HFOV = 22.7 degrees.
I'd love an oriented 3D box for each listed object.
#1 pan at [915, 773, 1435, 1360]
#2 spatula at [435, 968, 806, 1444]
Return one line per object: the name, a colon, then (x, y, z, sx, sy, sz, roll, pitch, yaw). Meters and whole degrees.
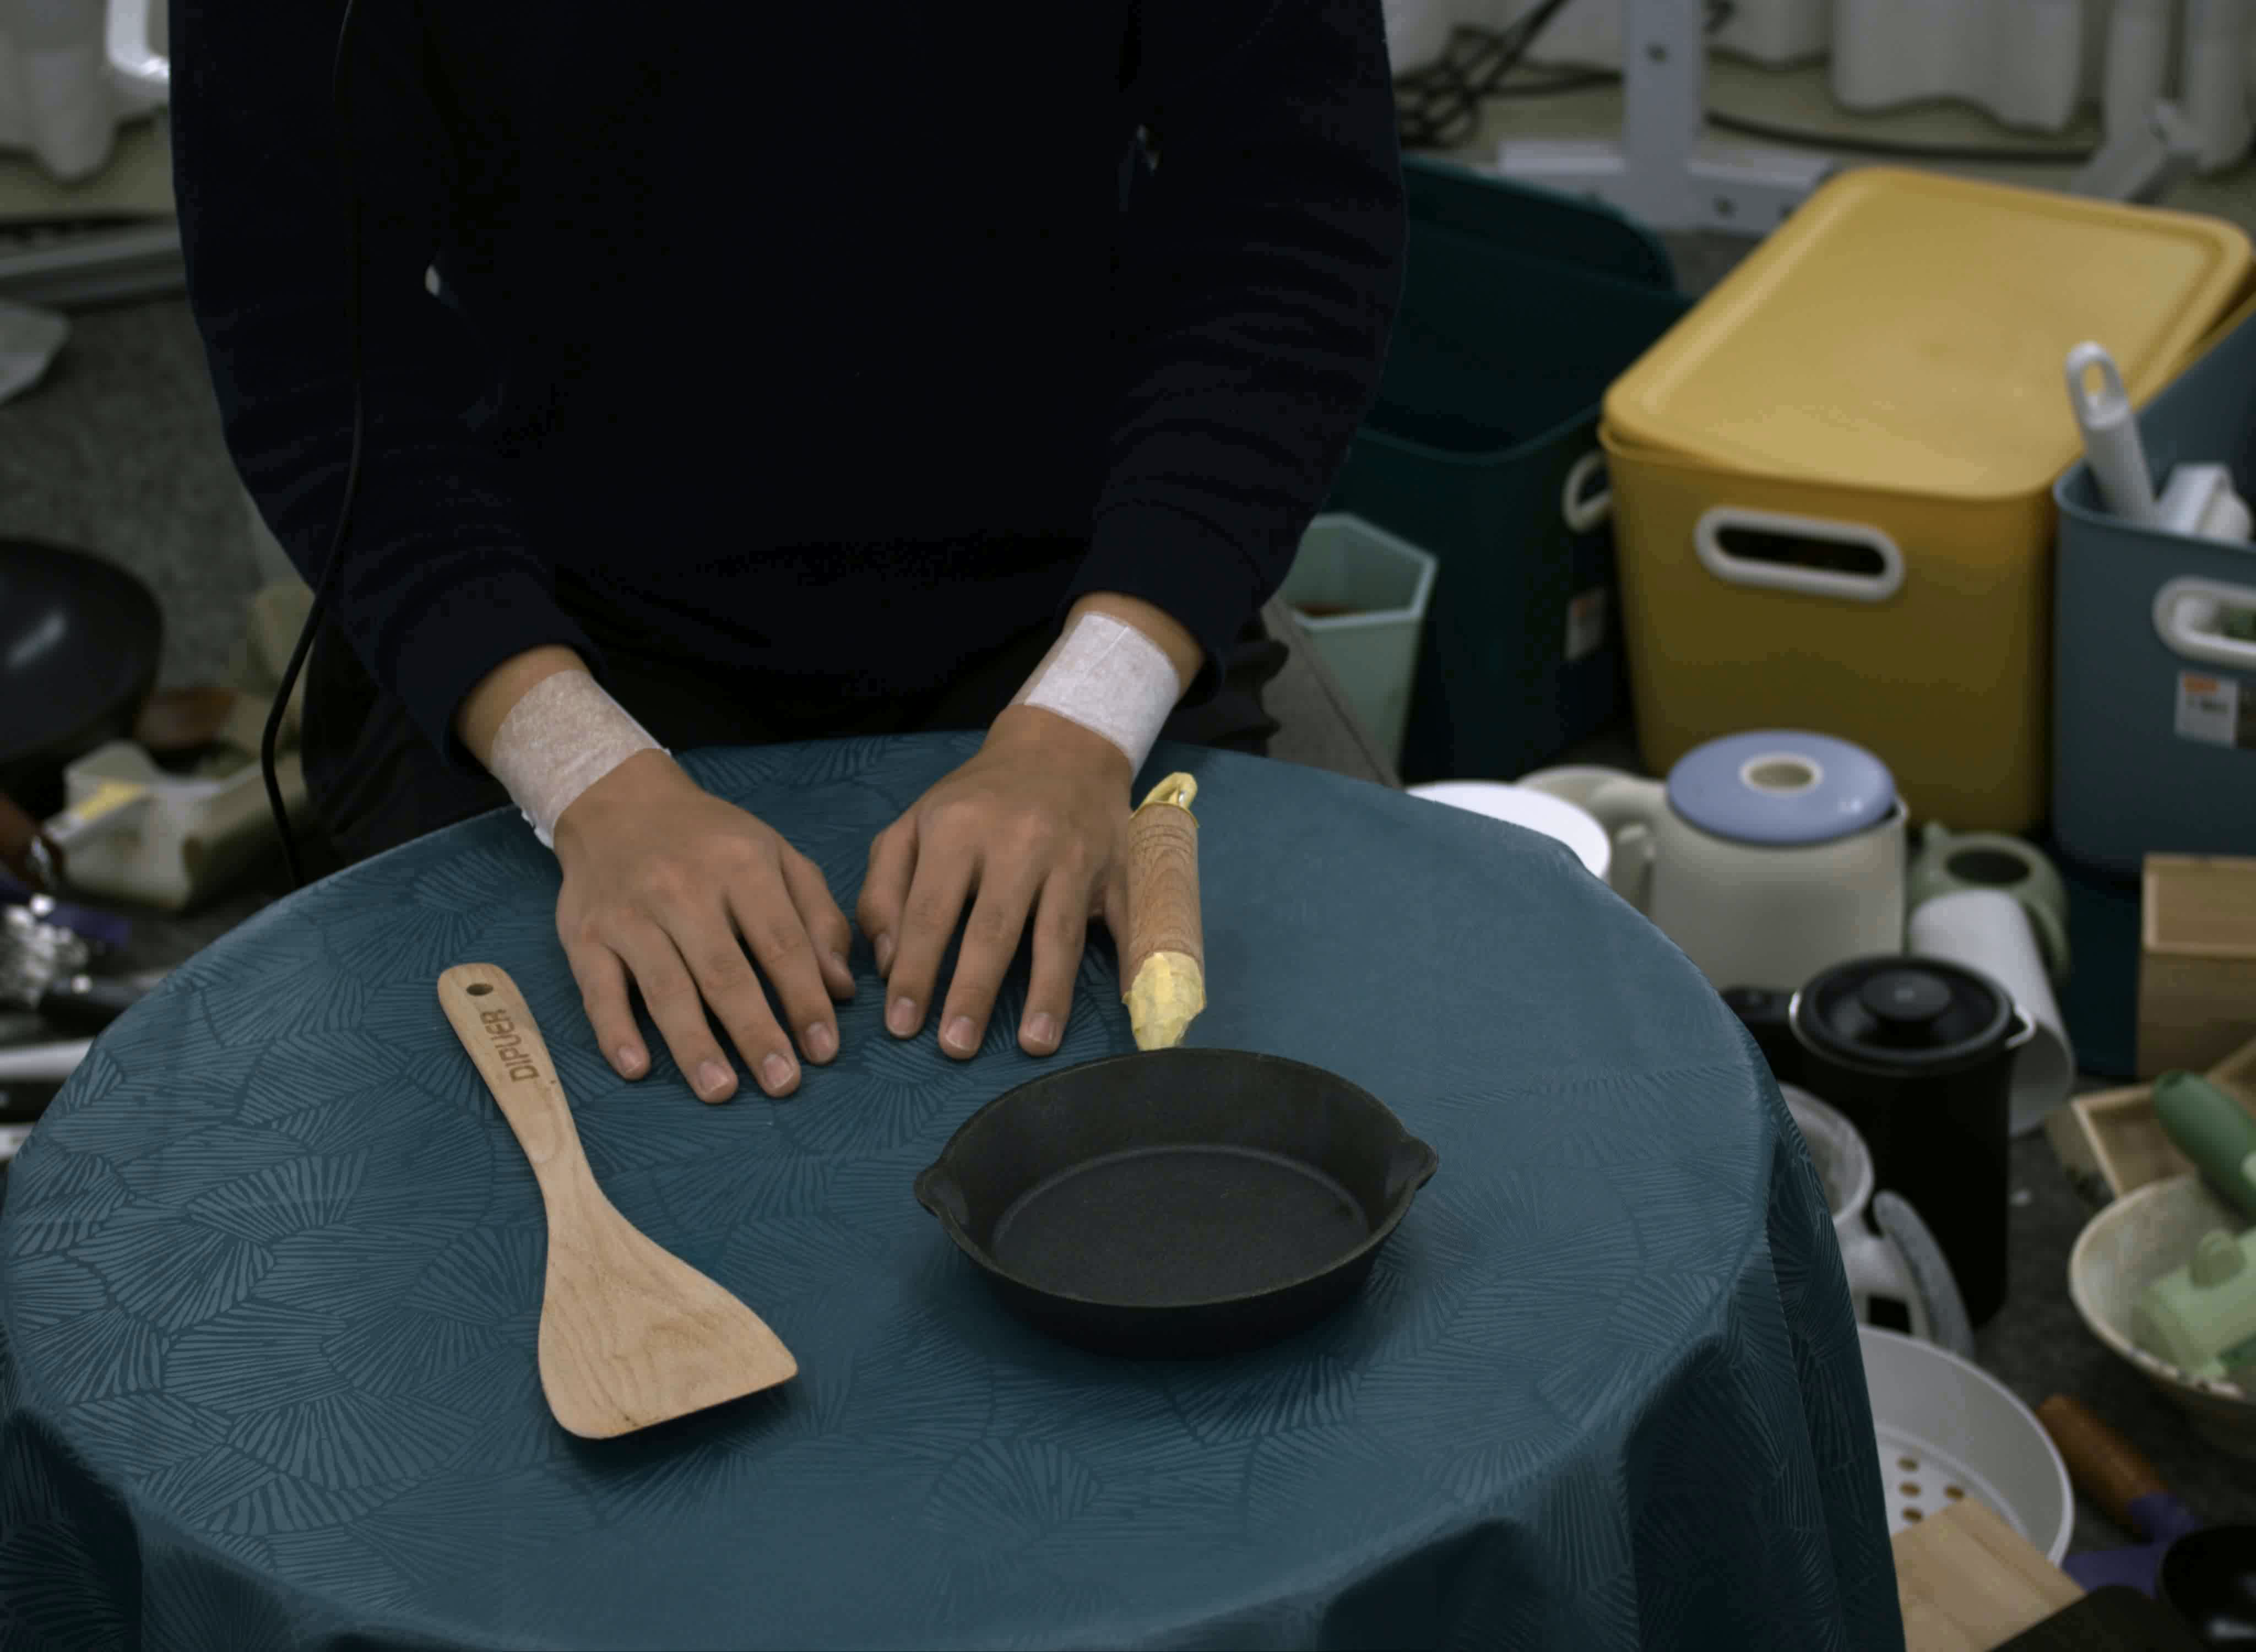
pan: (0.017, 0.078, 1.890, 0.168, 0.049, 0.329, -2, 29, 2)
spatula: (-0.184, 0.119, 1.867, 0.080, 0.016, 0.330, -10, 28, -16)
